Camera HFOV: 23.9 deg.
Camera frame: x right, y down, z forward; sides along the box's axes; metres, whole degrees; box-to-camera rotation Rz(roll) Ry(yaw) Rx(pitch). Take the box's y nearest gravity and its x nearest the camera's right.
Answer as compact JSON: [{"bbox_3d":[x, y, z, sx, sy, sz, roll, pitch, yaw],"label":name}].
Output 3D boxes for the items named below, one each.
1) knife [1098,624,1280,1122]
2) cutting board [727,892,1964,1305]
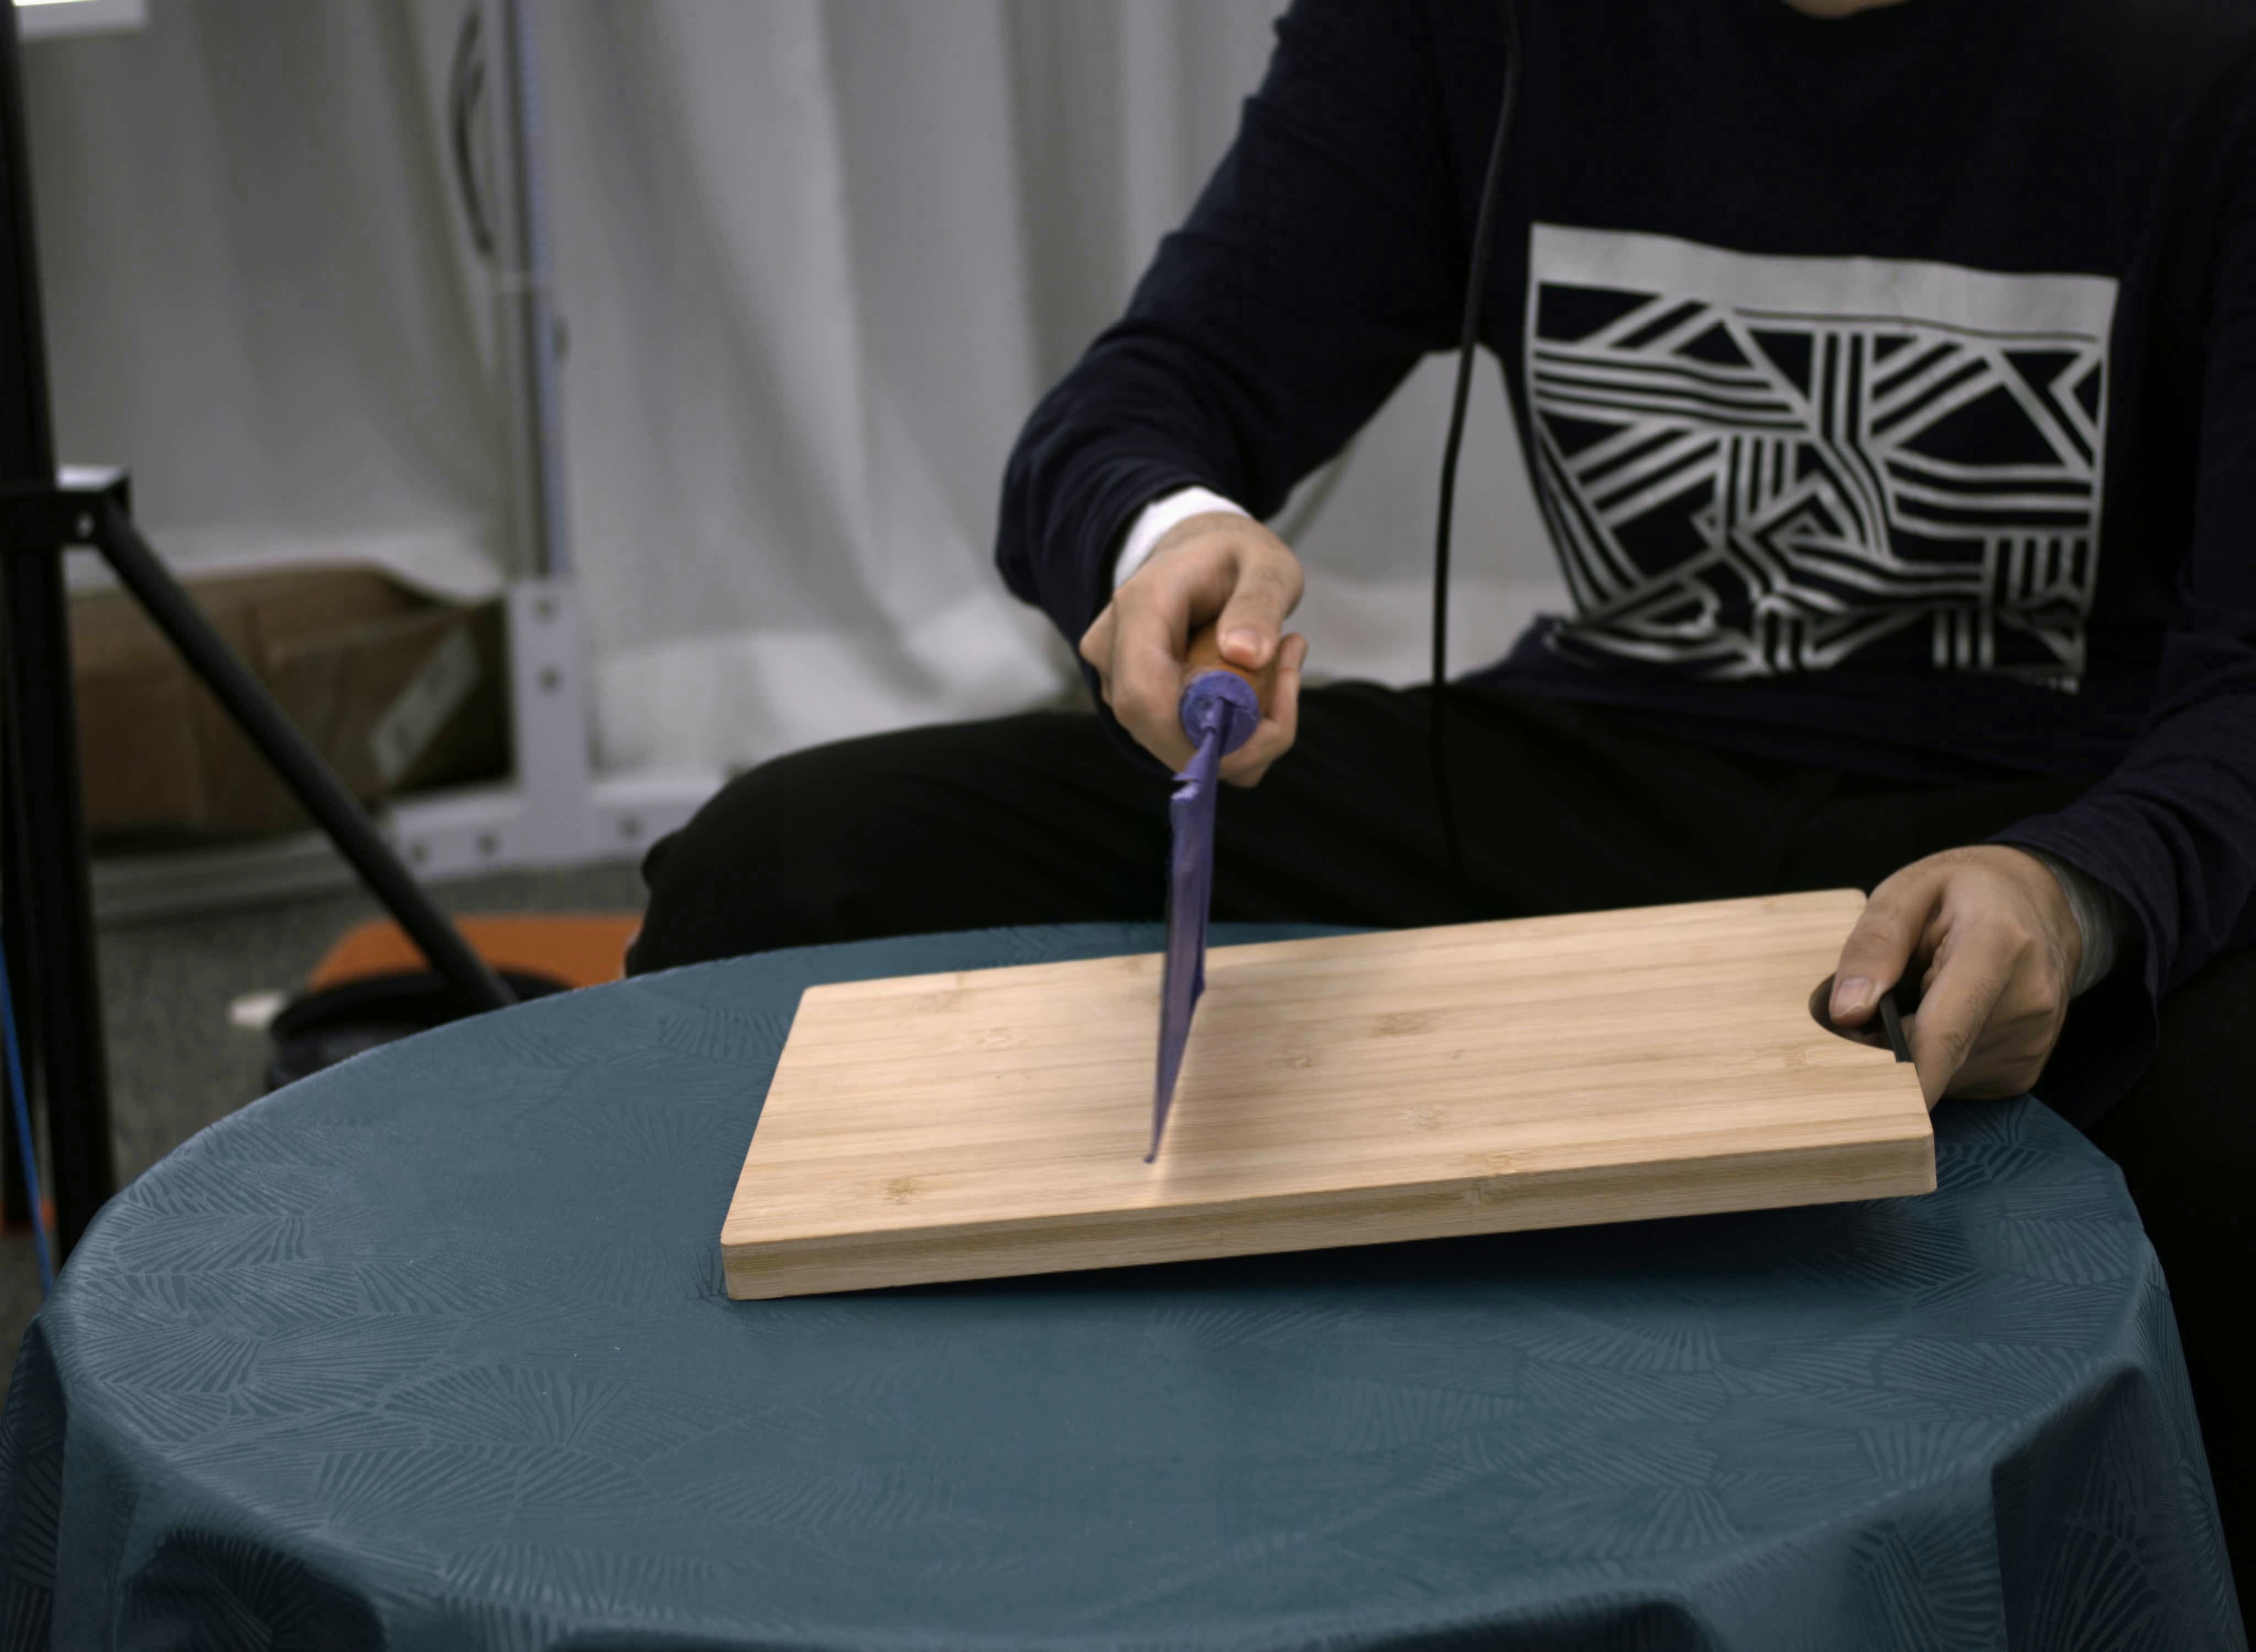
[{"bbox_3d":[0.016,0.011,1.616,0.032,0.104,0.314,6,14,6],"label":"knife"},{"bbox_3d":[0.065,0.077,1.582,0.348,0.023,0.251,-6,16,5],"label":"cutting board"}]
